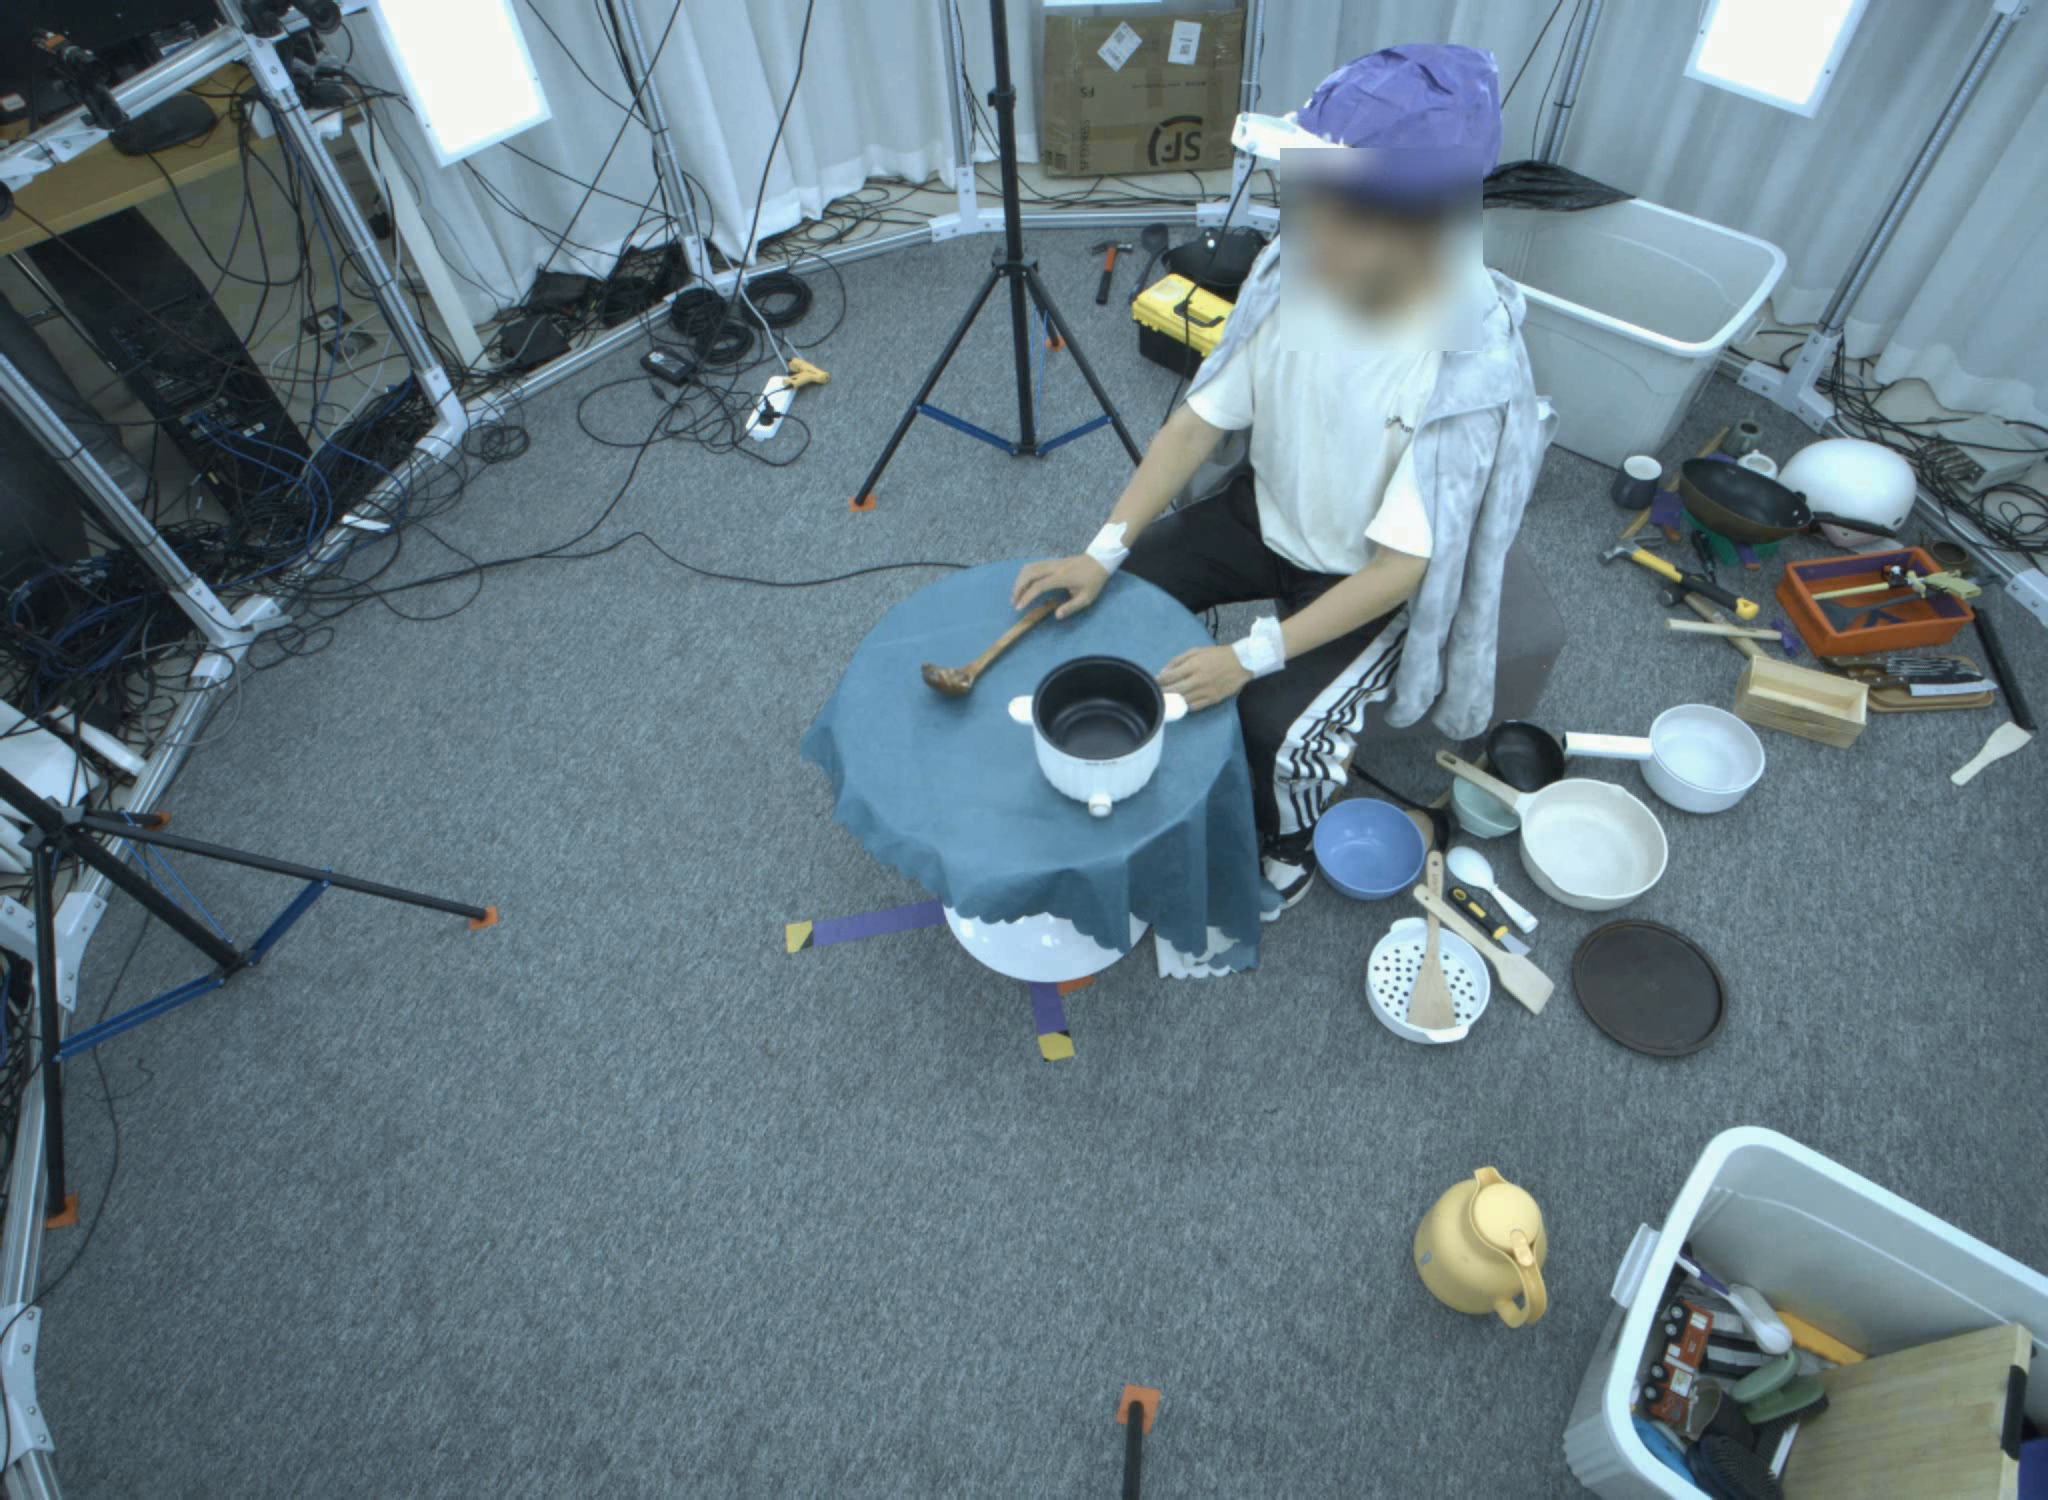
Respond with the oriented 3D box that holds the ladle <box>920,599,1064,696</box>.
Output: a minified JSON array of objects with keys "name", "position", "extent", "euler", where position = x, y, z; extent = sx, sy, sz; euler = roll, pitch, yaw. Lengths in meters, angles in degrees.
[{"name":"ladle","position":[-0.045,-0.172,1.865],"extent":[0.080,0.077,0.276],"euler":[37,64,26]}]

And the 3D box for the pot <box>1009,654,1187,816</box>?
[{"name":"pot","position":[0.104,-0.018,1.713],"extent":[0.240,0.144,0.188],"euler":[-2,51,2]}]
